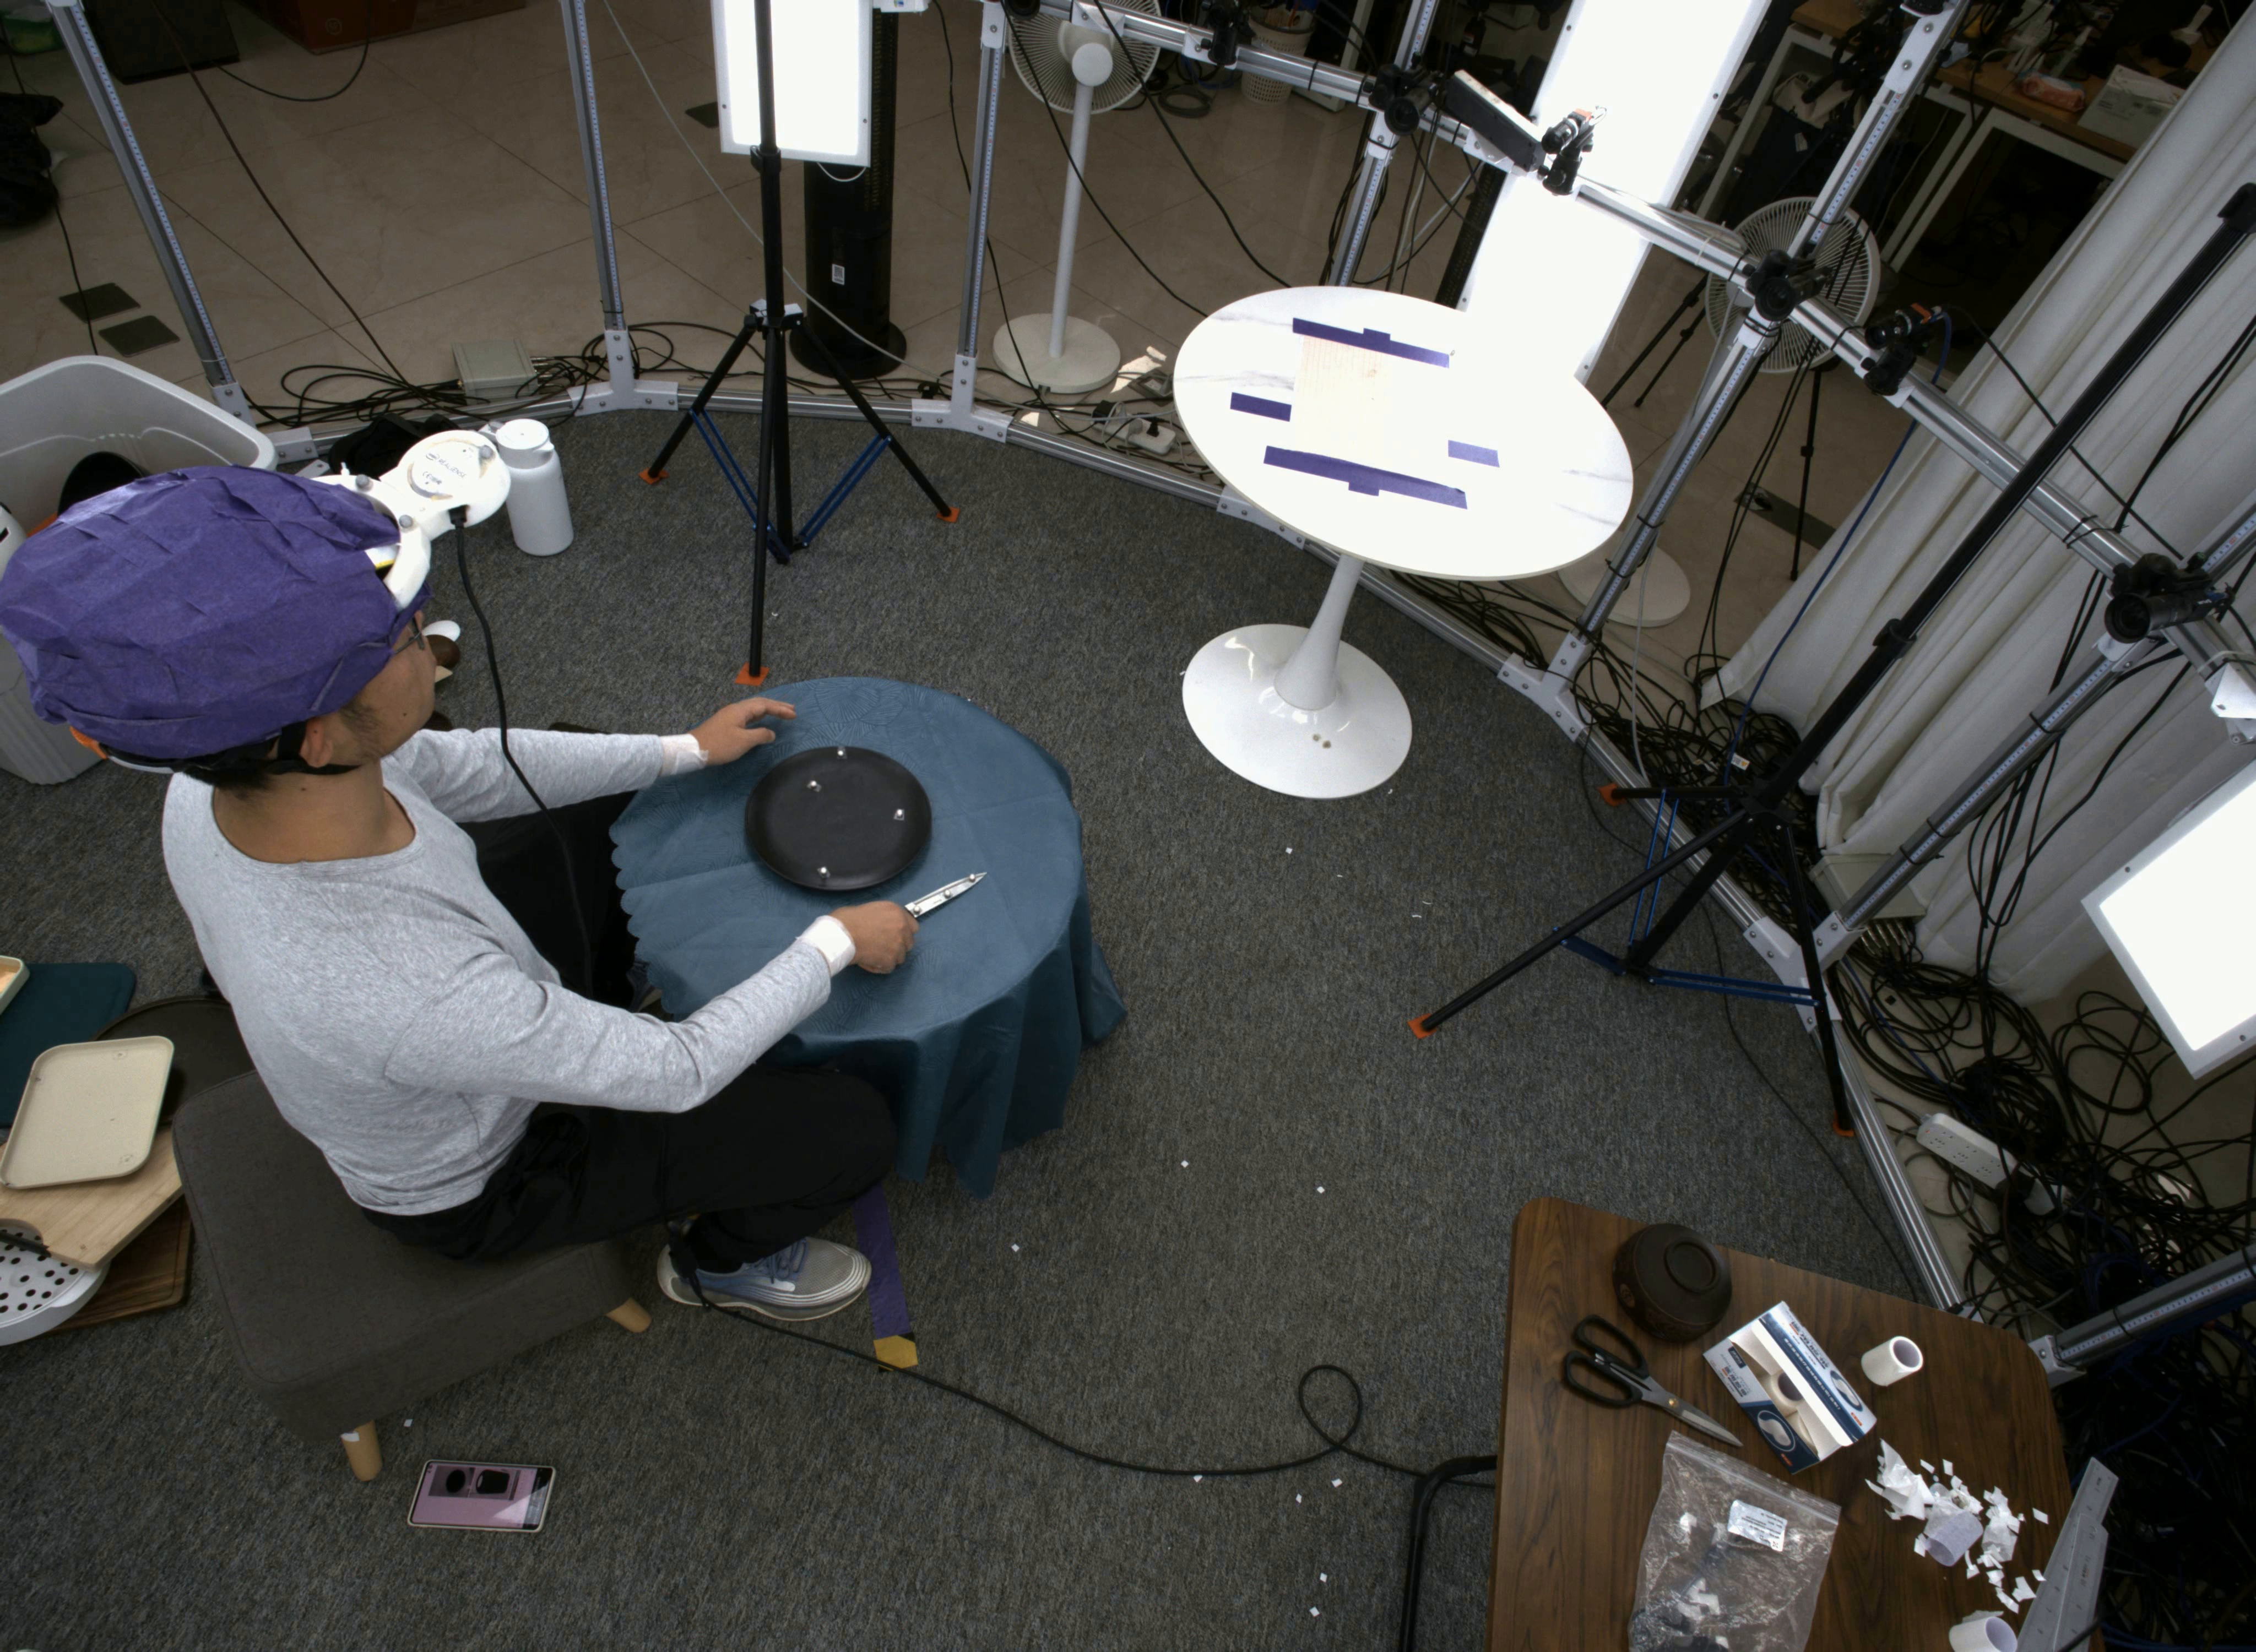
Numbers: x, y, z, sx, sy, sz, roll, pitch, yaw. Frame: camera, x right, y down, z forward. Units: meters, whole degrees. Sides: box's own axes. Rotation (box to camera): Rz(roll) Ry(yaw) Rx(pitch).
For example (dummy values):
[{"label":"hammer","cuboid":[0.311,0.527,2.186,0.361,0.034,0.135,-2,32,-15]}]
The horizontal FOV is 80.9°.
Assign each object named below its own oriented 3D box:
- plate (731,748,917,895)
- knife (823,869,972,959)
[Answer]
[{"label":"plate","cuboid":[-0.404,-0.006,1.730,0.244,0.024,0.240,8,53,-9]},{"label":"knife","cuboid":[-0.291,0.109,1.678,0.239,0.016,0.024,-31,64,-36]}]
